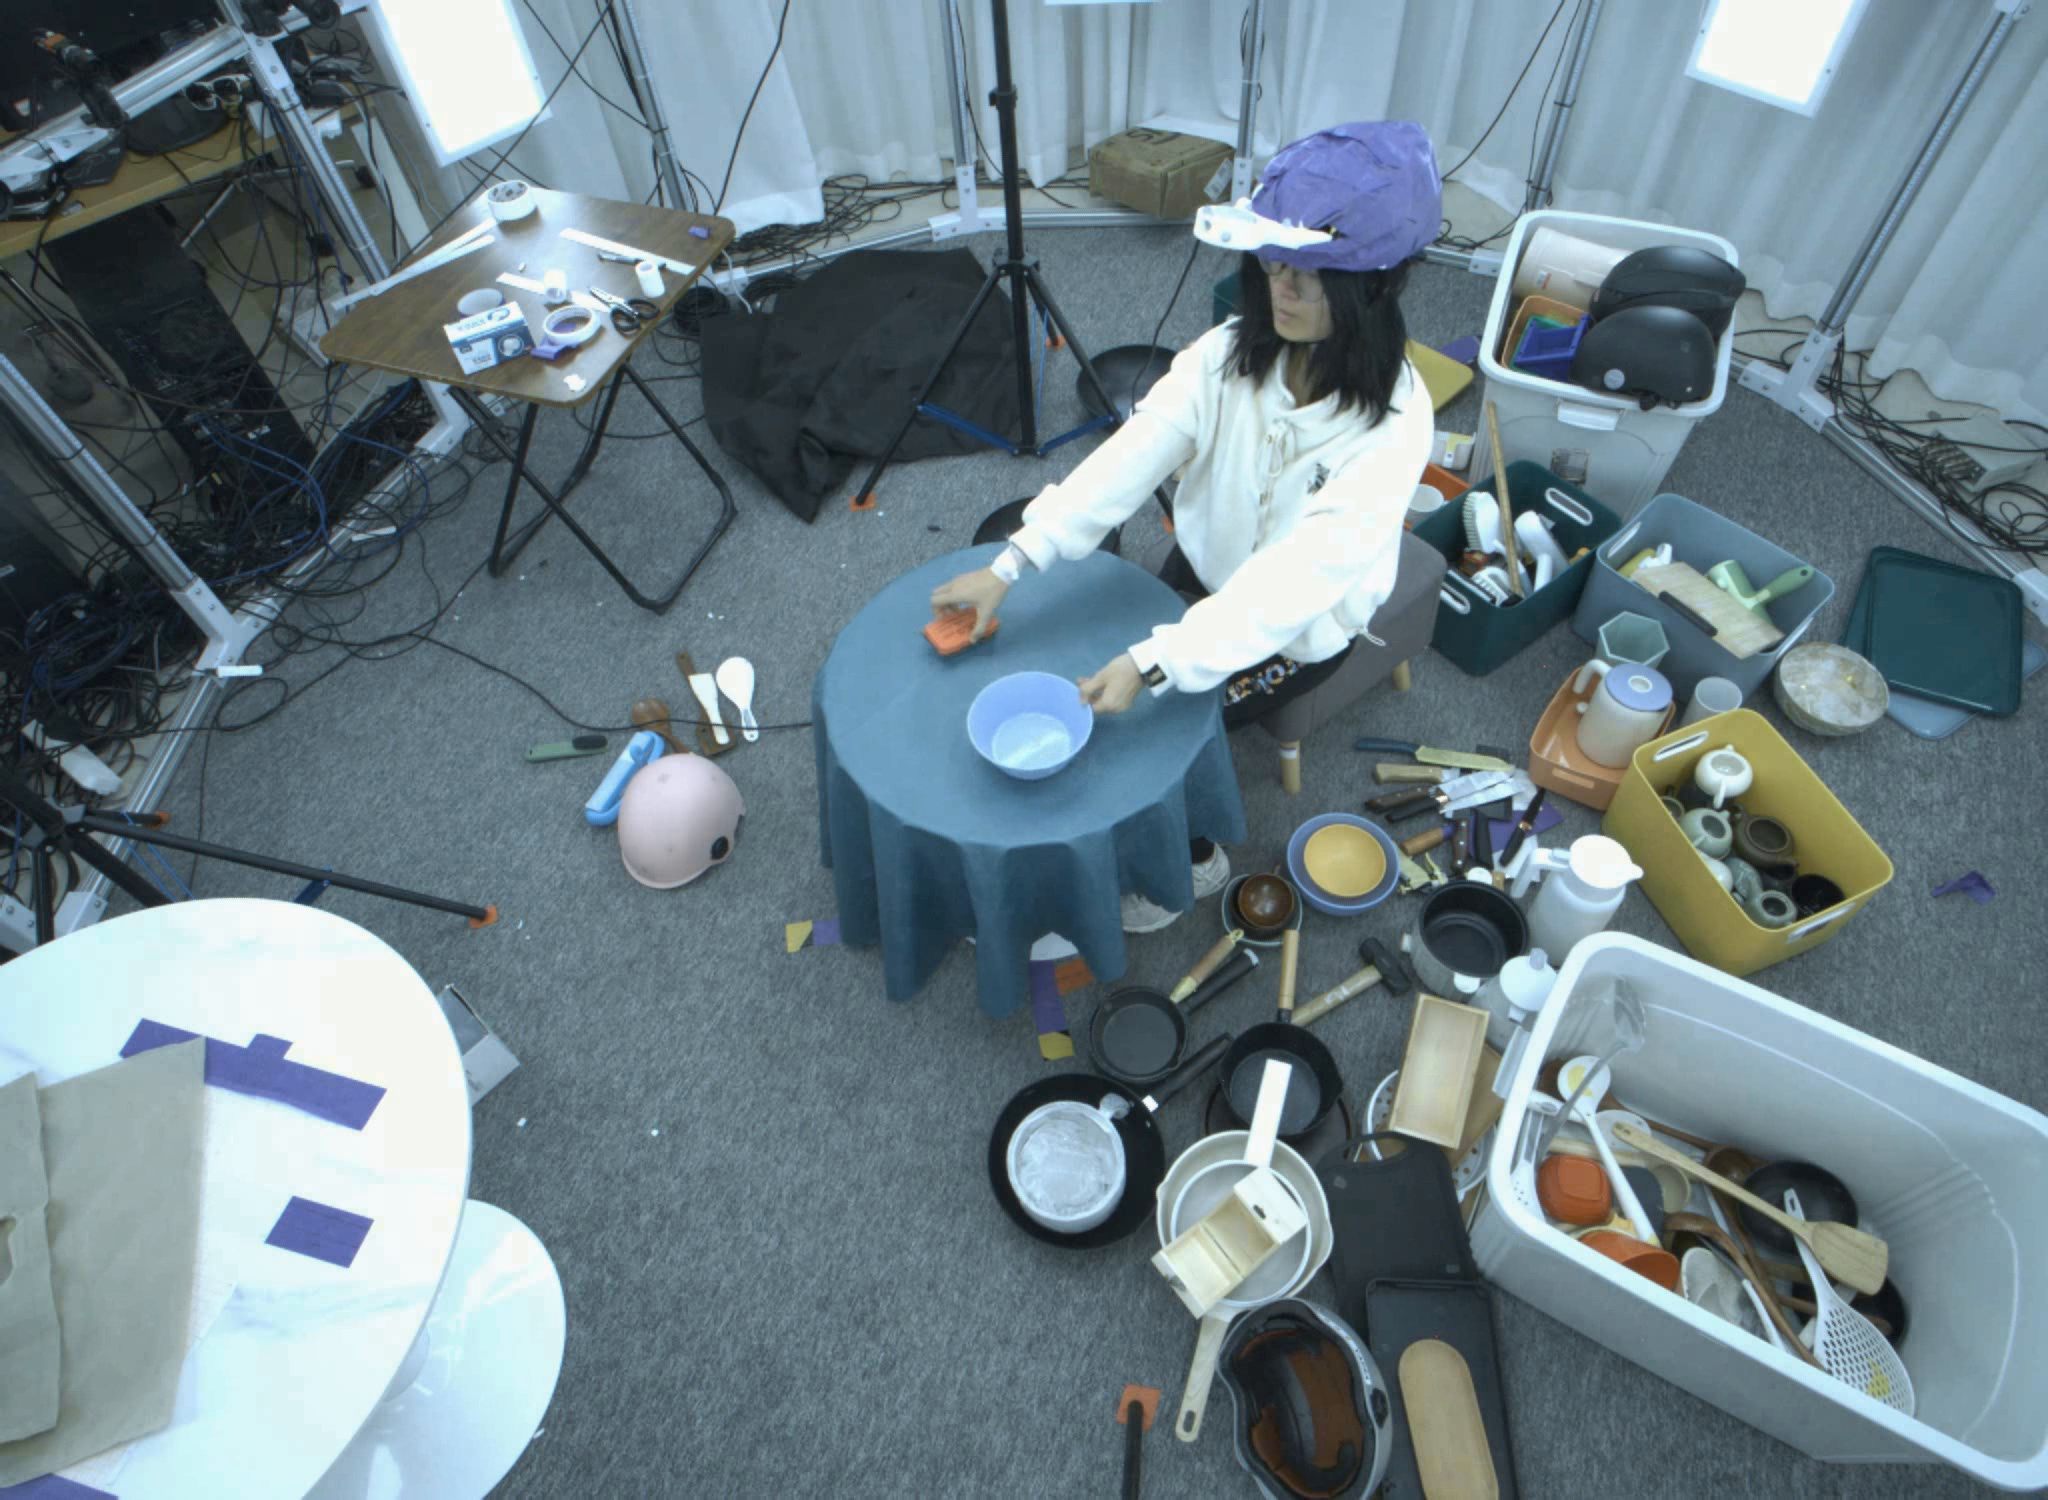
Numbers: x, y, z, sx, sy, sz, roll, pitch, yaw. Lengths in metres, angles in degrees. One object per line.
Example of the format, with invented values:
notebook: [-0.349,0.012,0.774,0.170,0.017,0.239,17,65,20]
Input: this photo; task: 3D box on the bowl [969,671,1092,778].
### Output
bowl: [0.011,-0.025,1.761,0.176,0.071,0.174,-1,54,2]

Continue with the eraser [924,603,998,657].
eraser: [-0.098,-0.186,1.896,0.109,0.023,0.058,-28,62,-28]
